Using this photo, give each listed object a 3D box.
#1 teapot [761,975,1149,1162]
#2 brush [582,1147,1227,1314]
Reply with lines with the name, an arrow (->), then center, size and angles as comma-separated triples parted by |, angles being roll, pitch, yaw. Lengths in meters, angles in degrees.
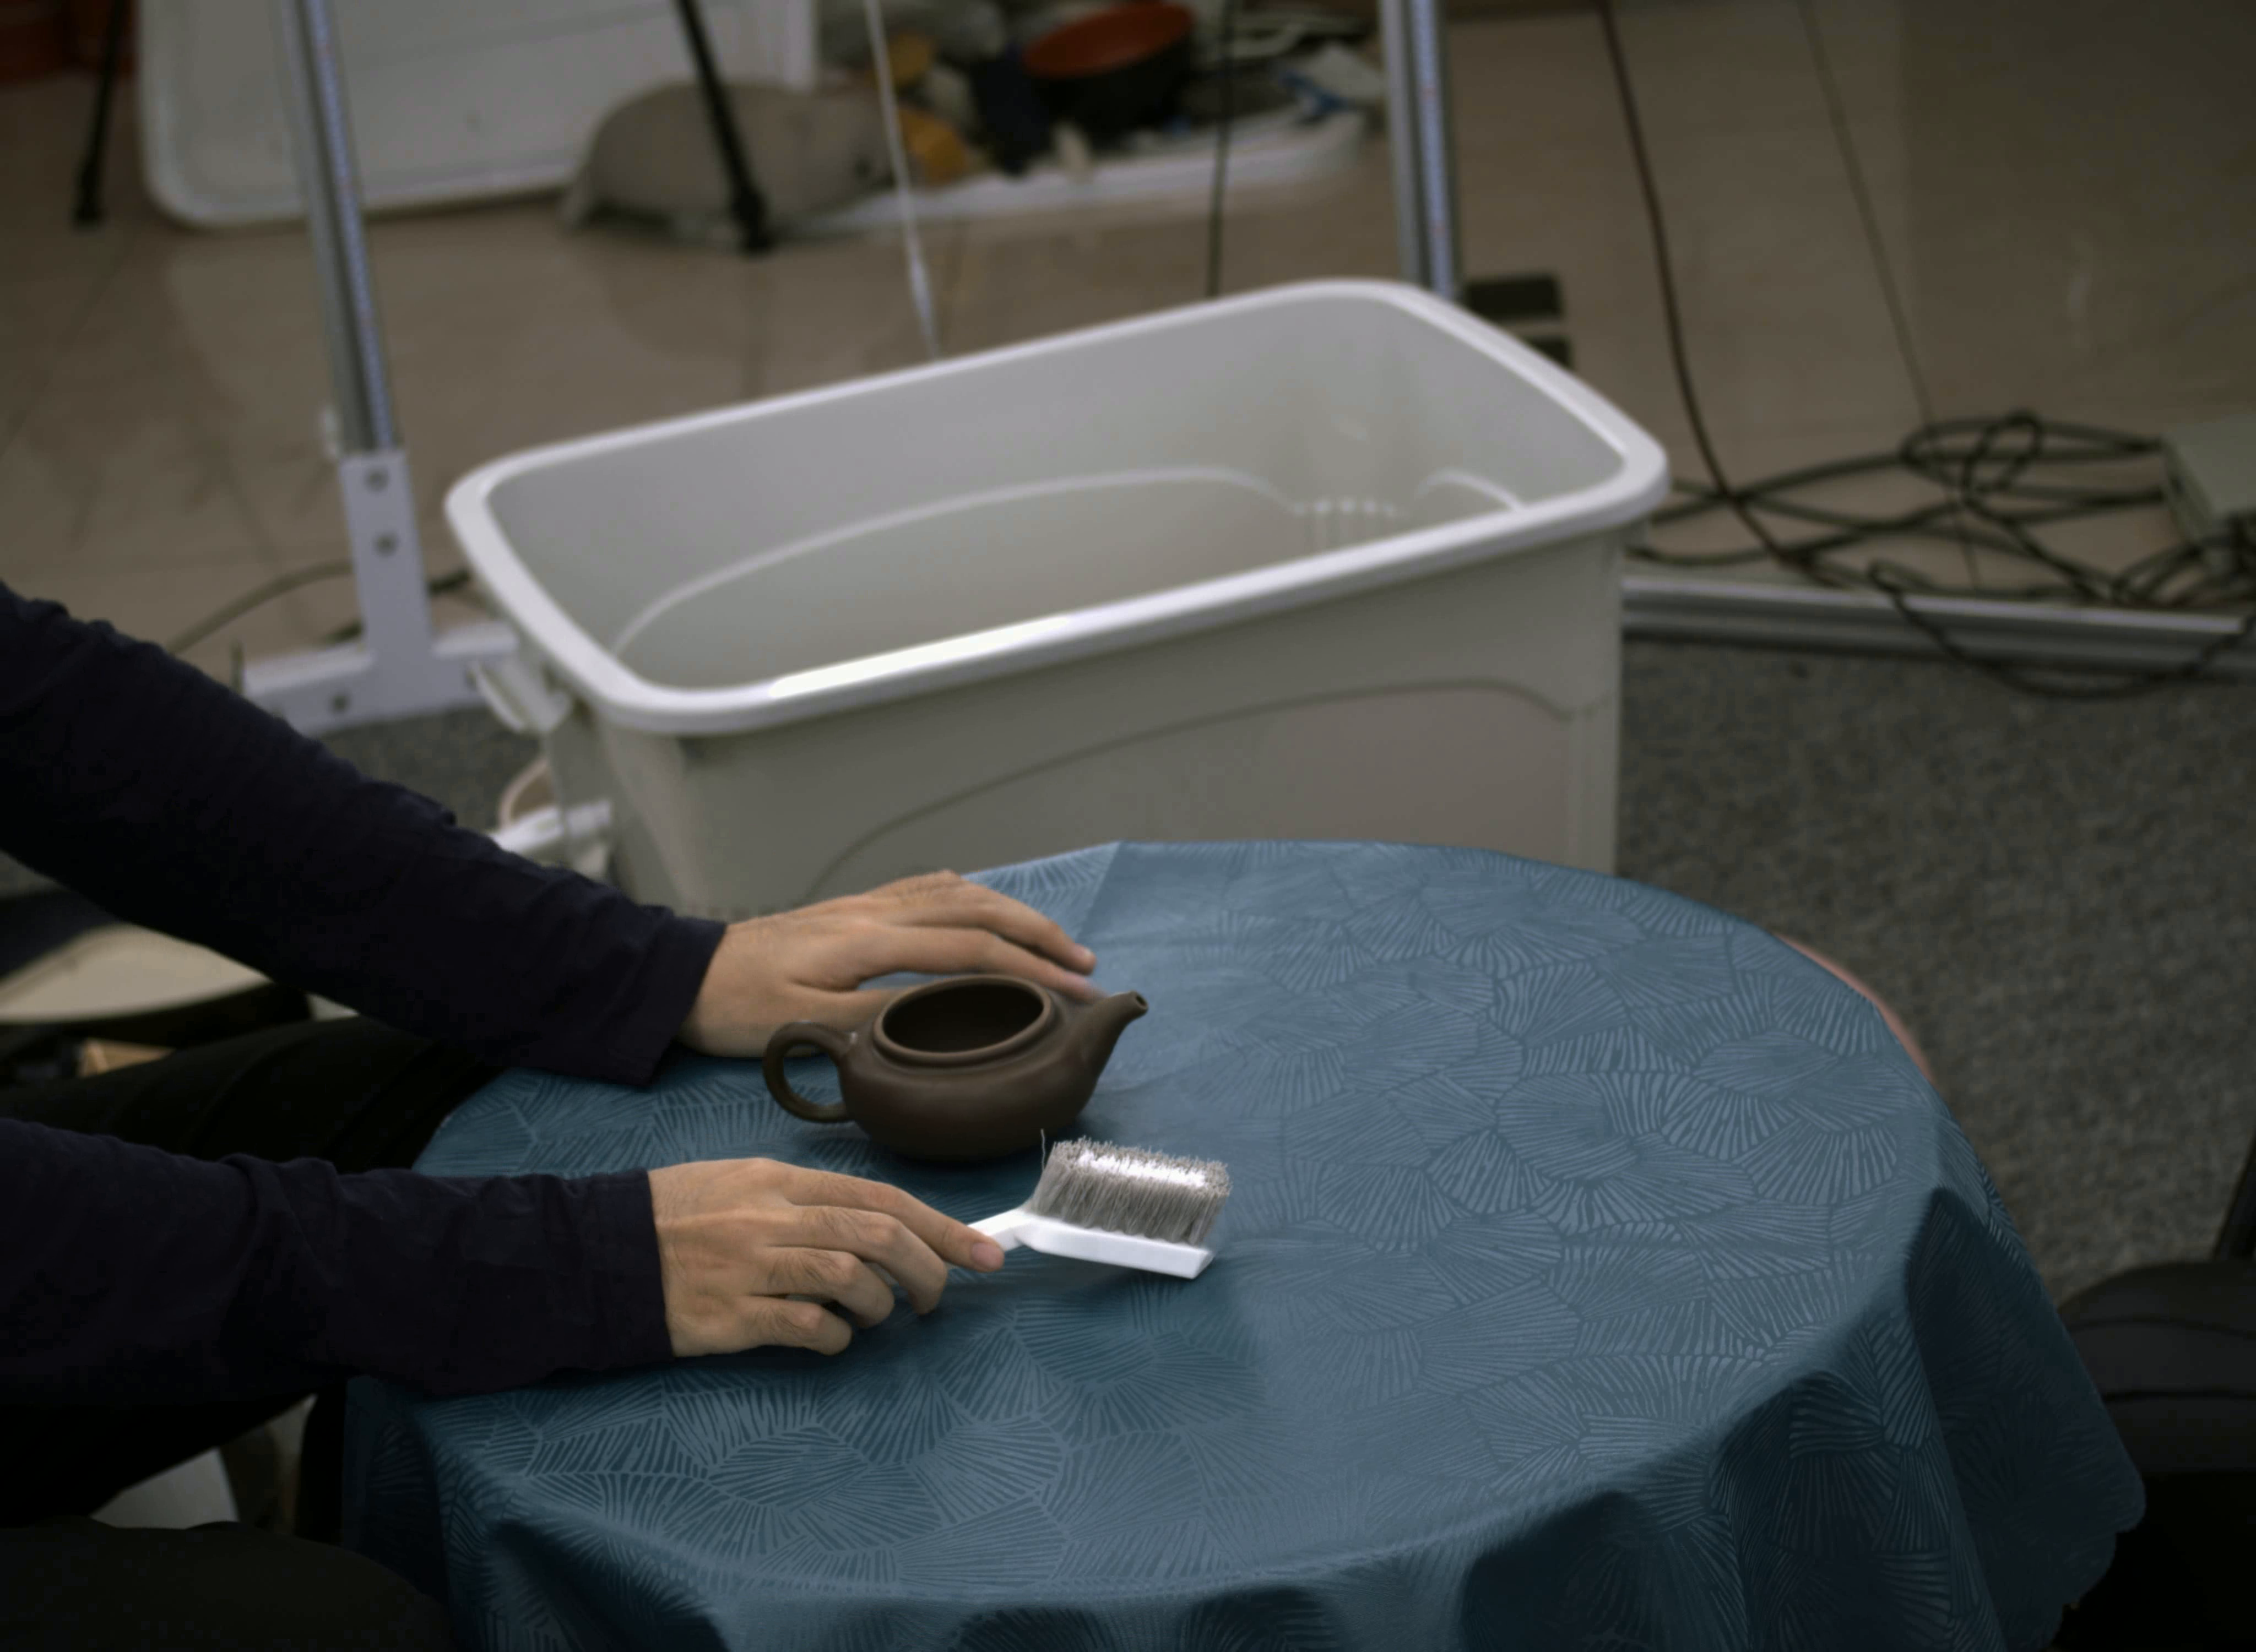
teapot -> -0.066, 0.093, 2.199 | 0.153, 0.054, 0.101 | -5, 24, 2
brush -> -0.084, 0.149, 2.090 | 0.243, 0.051, 0.034 | -4, 28, 5
